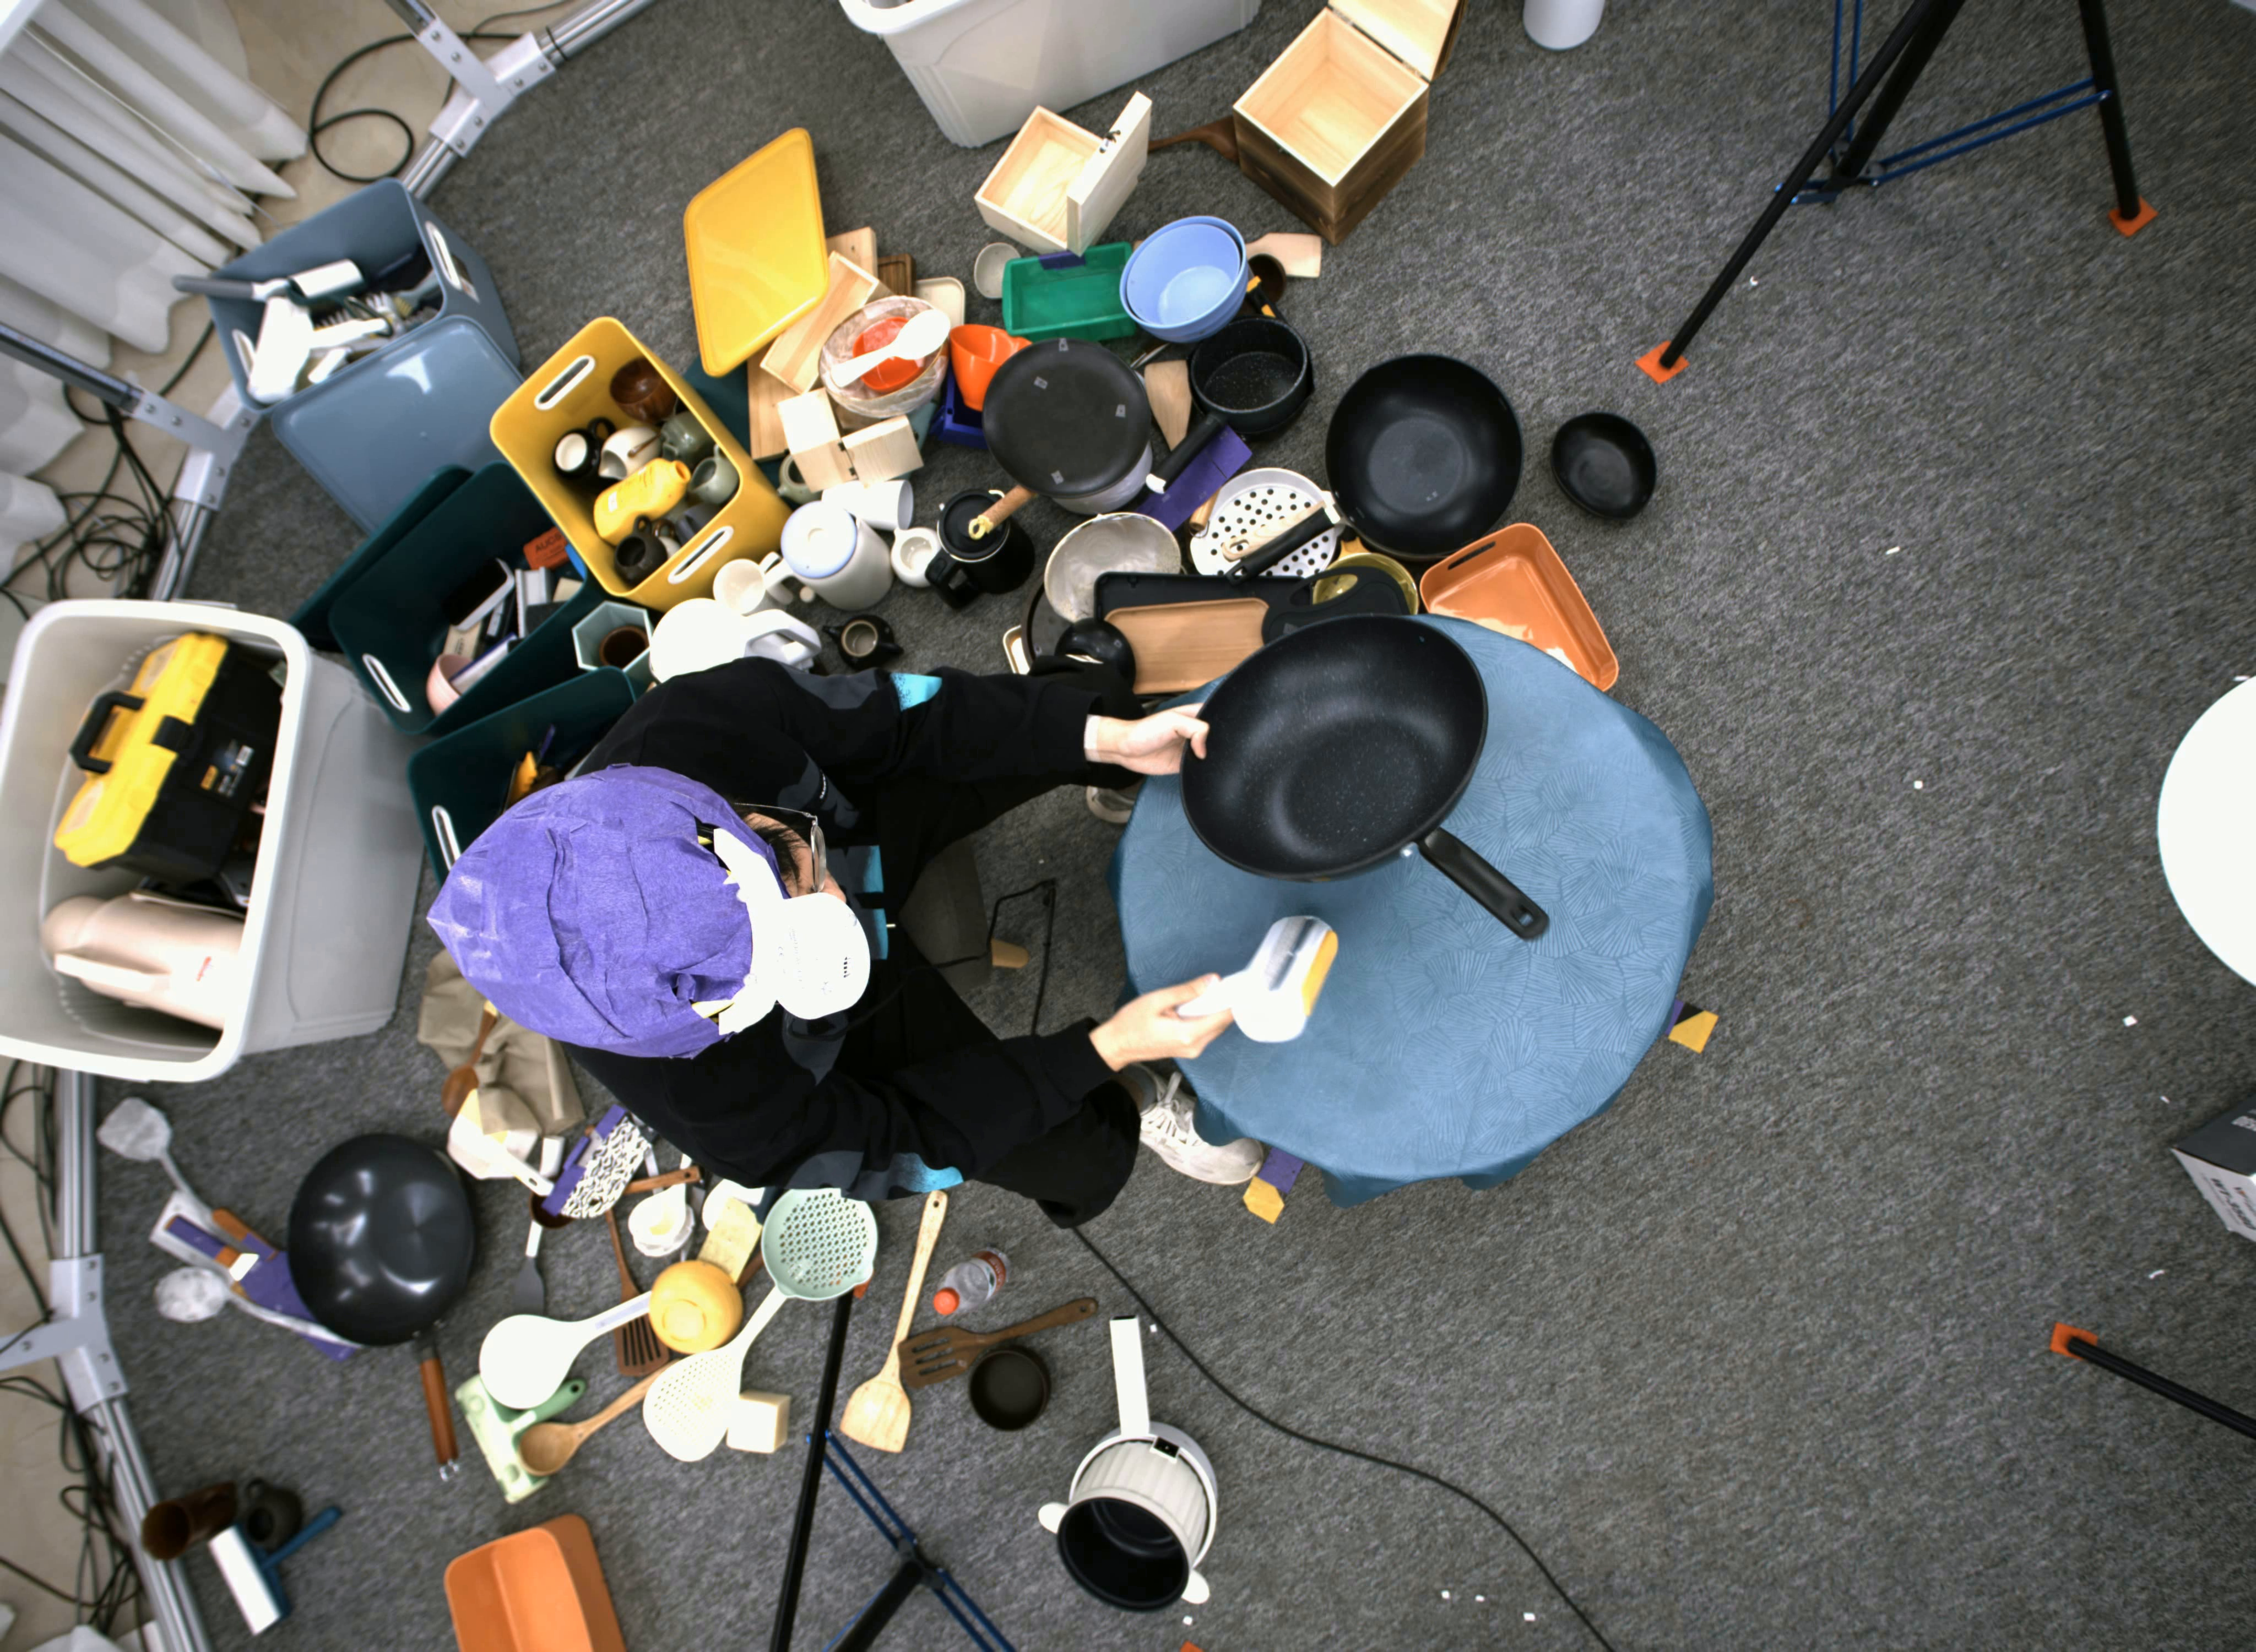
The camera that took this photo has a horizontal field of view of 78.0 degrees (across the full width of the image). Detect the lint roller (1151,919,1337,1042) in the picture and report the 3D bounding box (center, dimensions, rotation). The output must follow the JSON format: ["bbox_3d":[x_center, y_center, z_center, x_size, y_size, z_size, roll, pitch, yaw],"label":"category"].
[{"bbox_3d":[0.101,0.162,1.379,0.195,0.188,0.075,-12,110,31],"label":"lint roller"}]

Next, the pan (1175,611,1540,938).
[{"bbox_3d":[0.234,-0.025,1.276,0.311,0.113,0.469,-41,46,2],"label":"pan"}]
